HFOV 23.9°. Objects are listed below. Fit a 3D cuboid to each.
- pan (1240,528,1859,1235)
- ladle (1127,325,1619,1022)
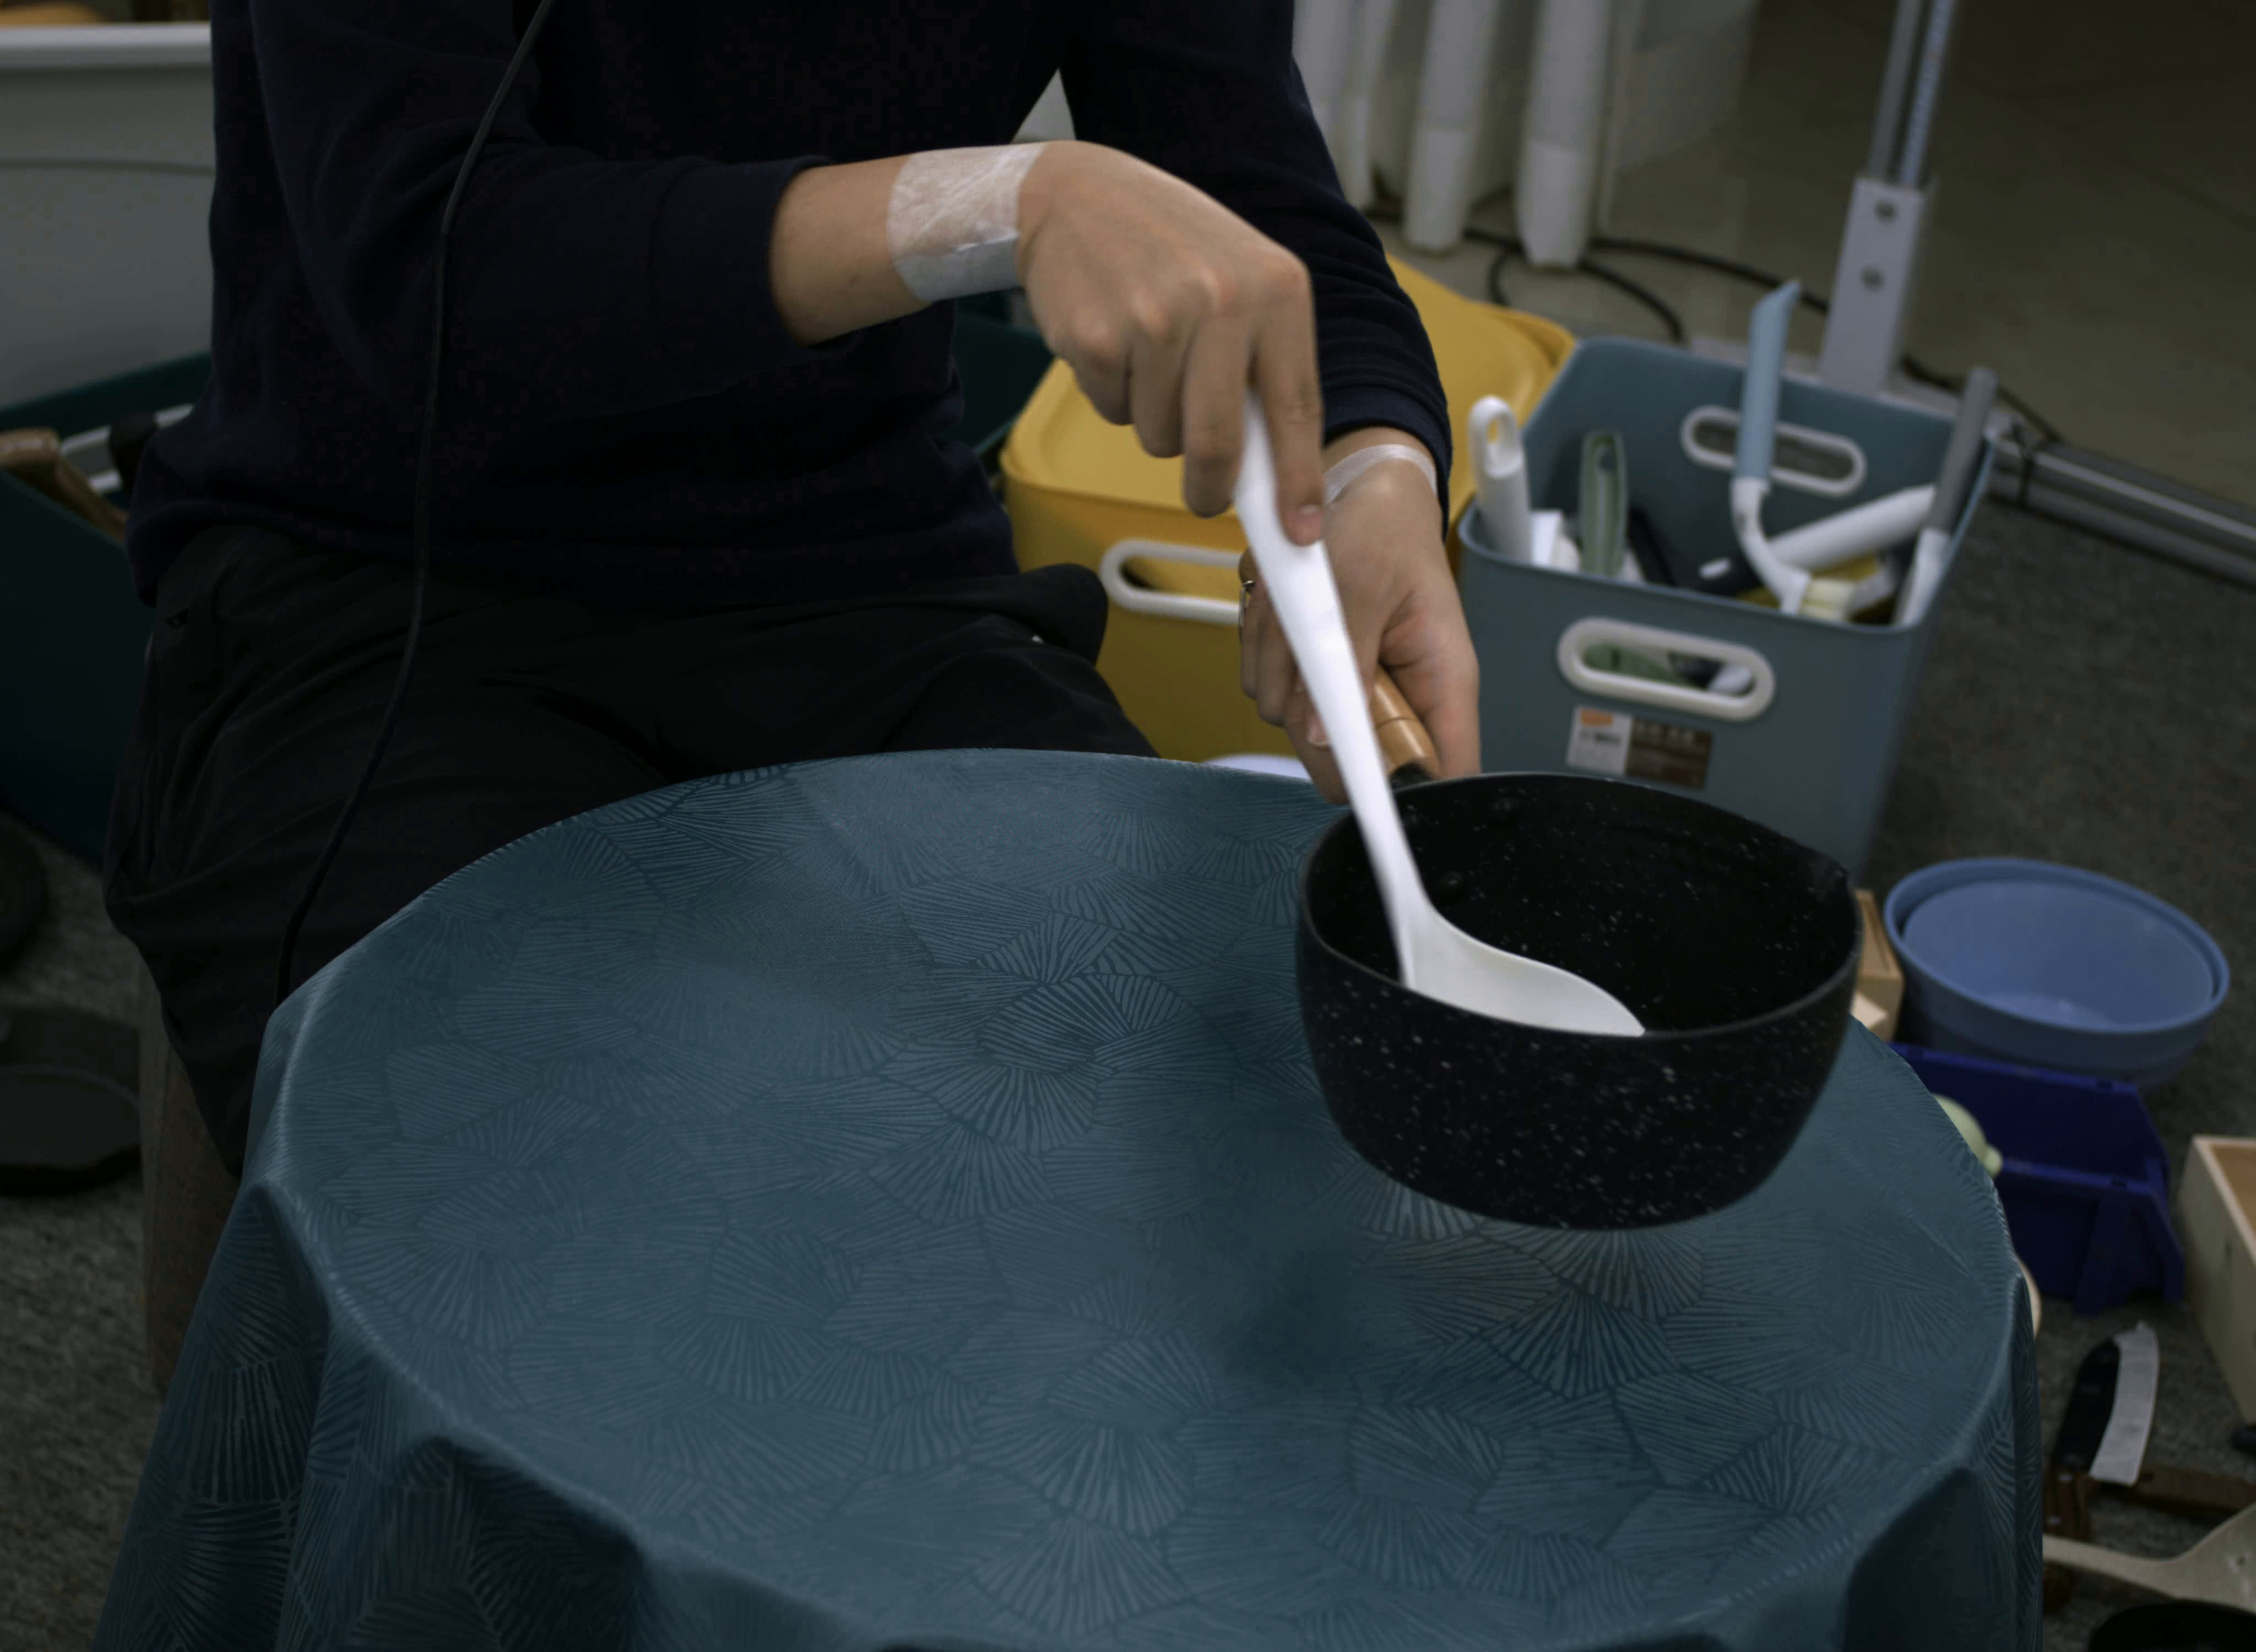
[{"bbox_3d":[0.110,0.015,1.805,0.206,0.108,0.346,-9,30,-22],"label":"pan"},{"bbox_3d":[0.076,-0.034,1.759,0.089,0.294,0.070,-16,-8,-35],"label":"ladle"}]
